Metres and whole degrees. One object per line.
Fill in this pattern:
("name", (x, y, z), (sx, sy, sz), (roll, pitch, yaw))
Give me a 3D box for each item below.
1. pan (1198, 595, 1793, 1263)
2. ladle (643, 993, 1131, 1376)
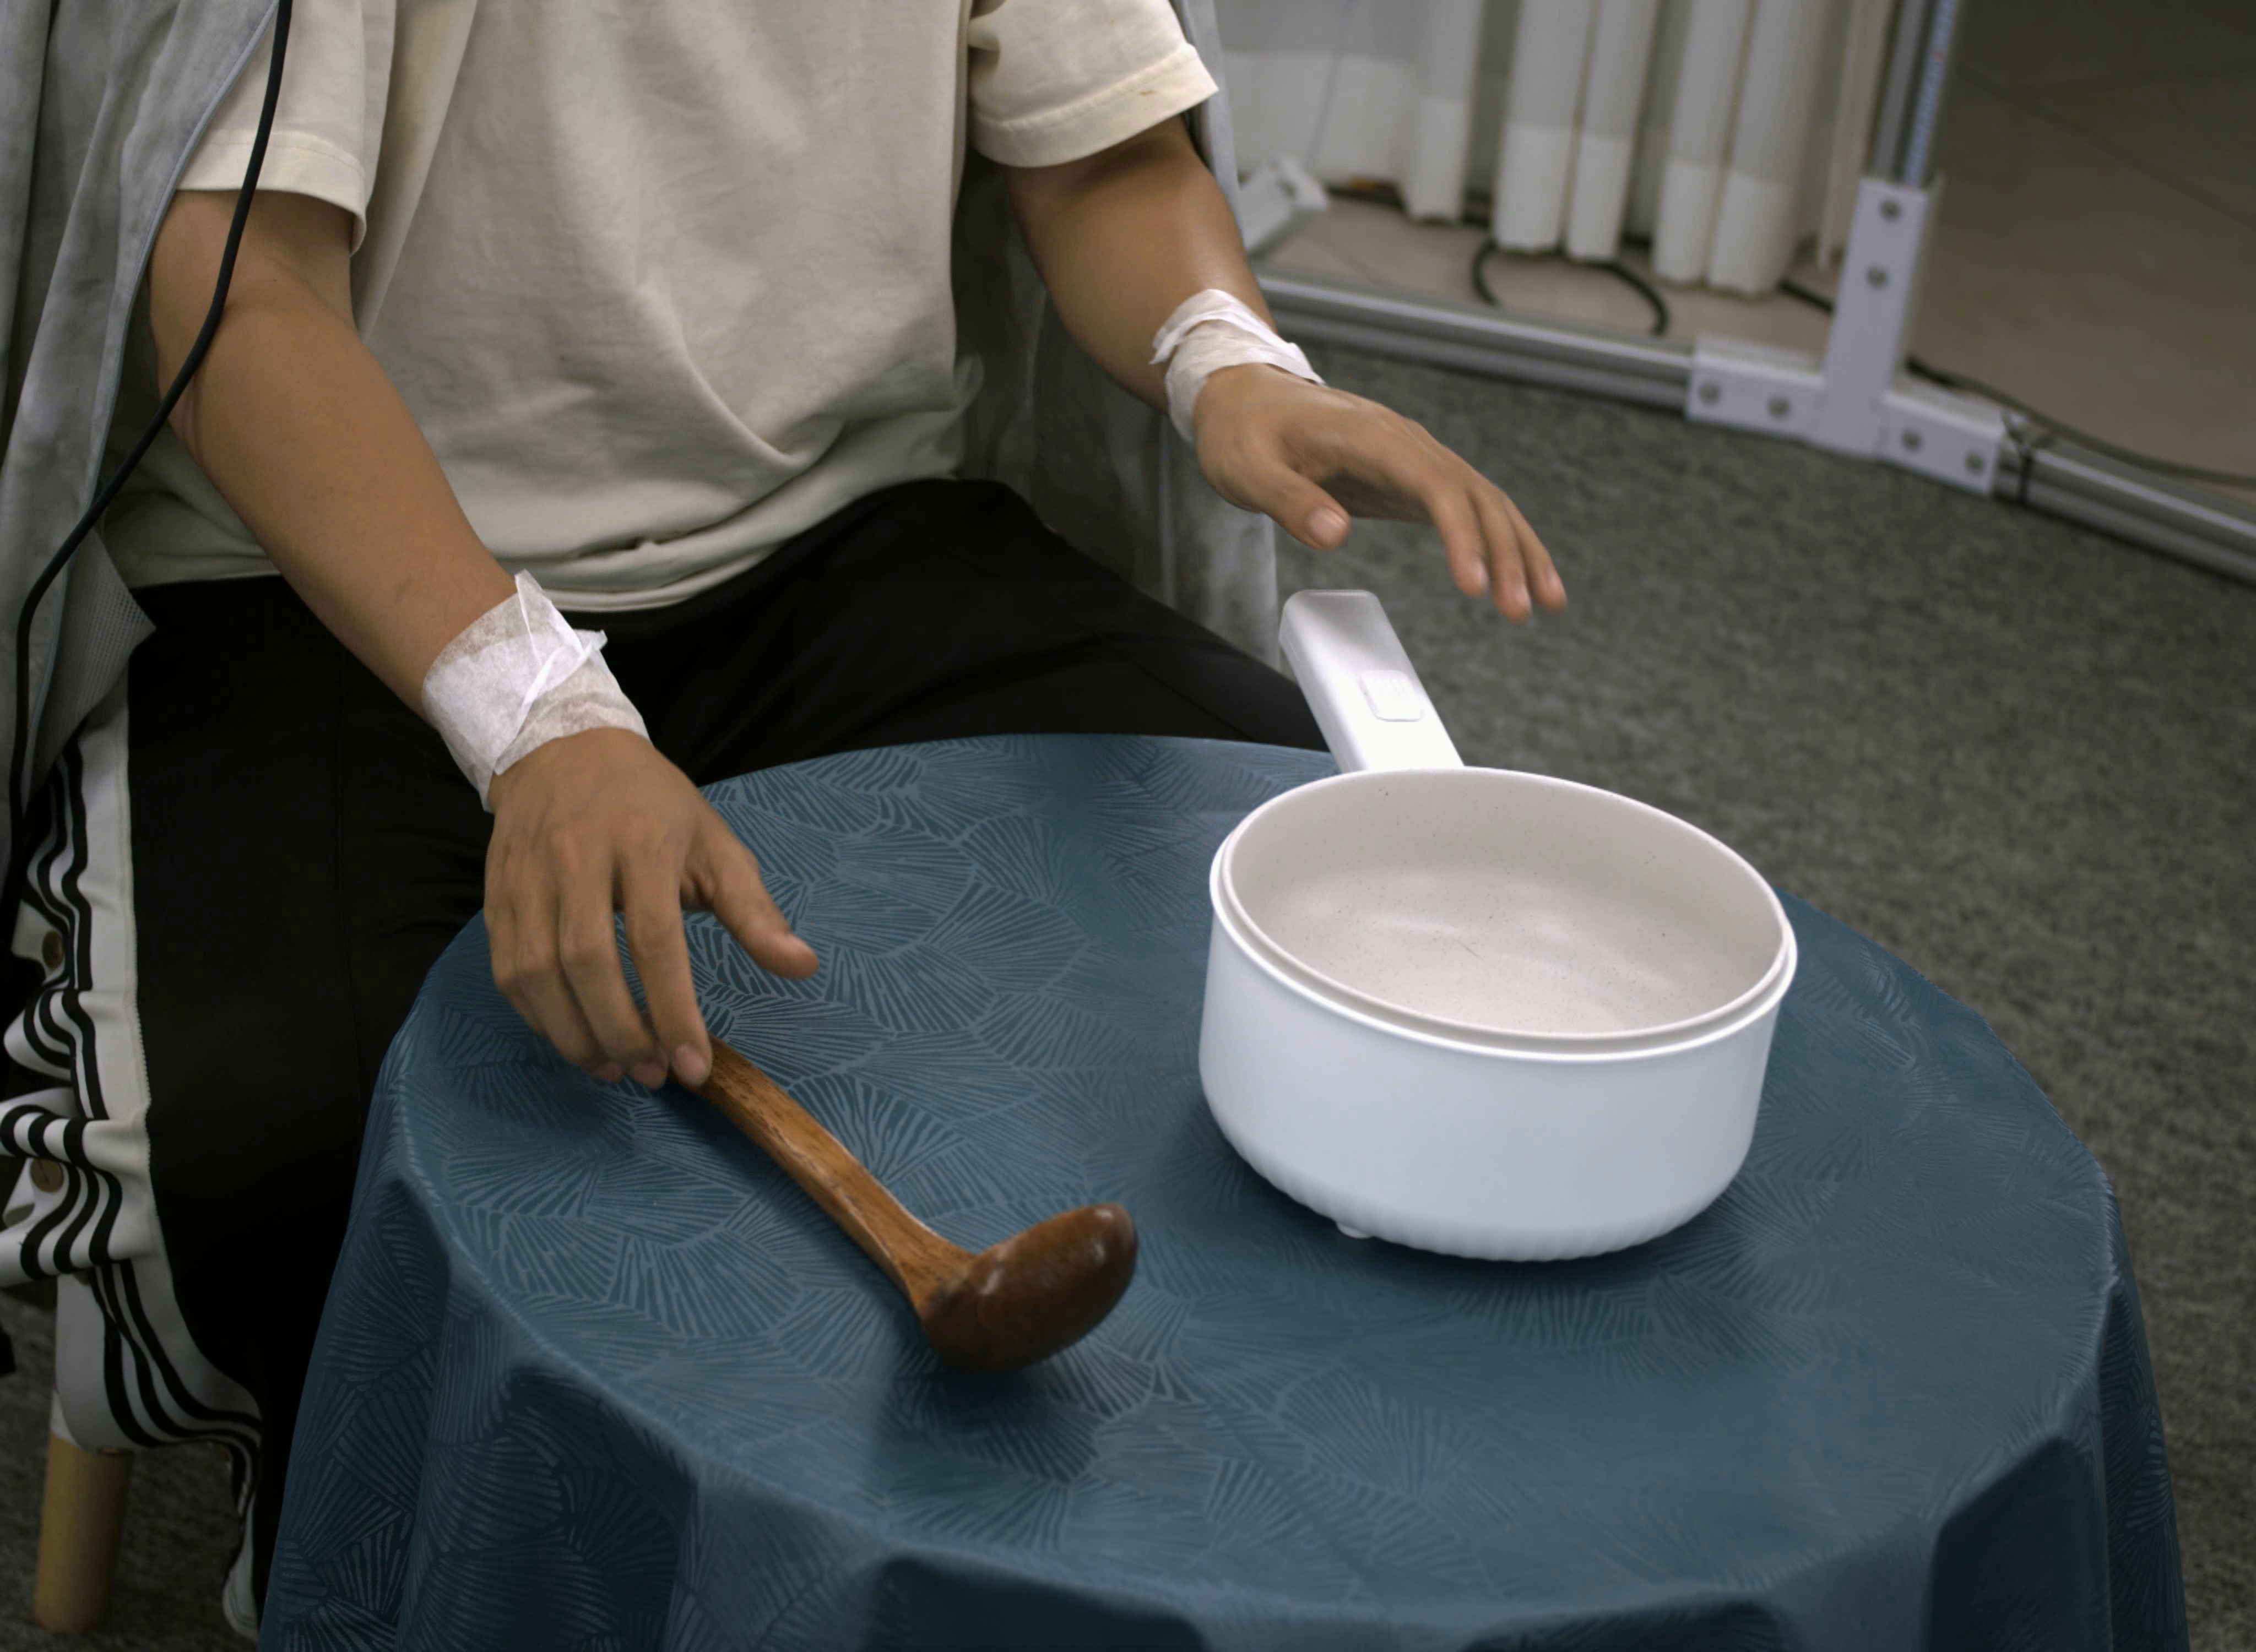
("pan", (0.108, 0.034, 1.899), (0.200, 0.102, 0.357), (-1, 27, -12))
("ladle", (-0.092, 0.098, 1.747), (0.081, 0.076, 0.276), (-12, 34, -29))
